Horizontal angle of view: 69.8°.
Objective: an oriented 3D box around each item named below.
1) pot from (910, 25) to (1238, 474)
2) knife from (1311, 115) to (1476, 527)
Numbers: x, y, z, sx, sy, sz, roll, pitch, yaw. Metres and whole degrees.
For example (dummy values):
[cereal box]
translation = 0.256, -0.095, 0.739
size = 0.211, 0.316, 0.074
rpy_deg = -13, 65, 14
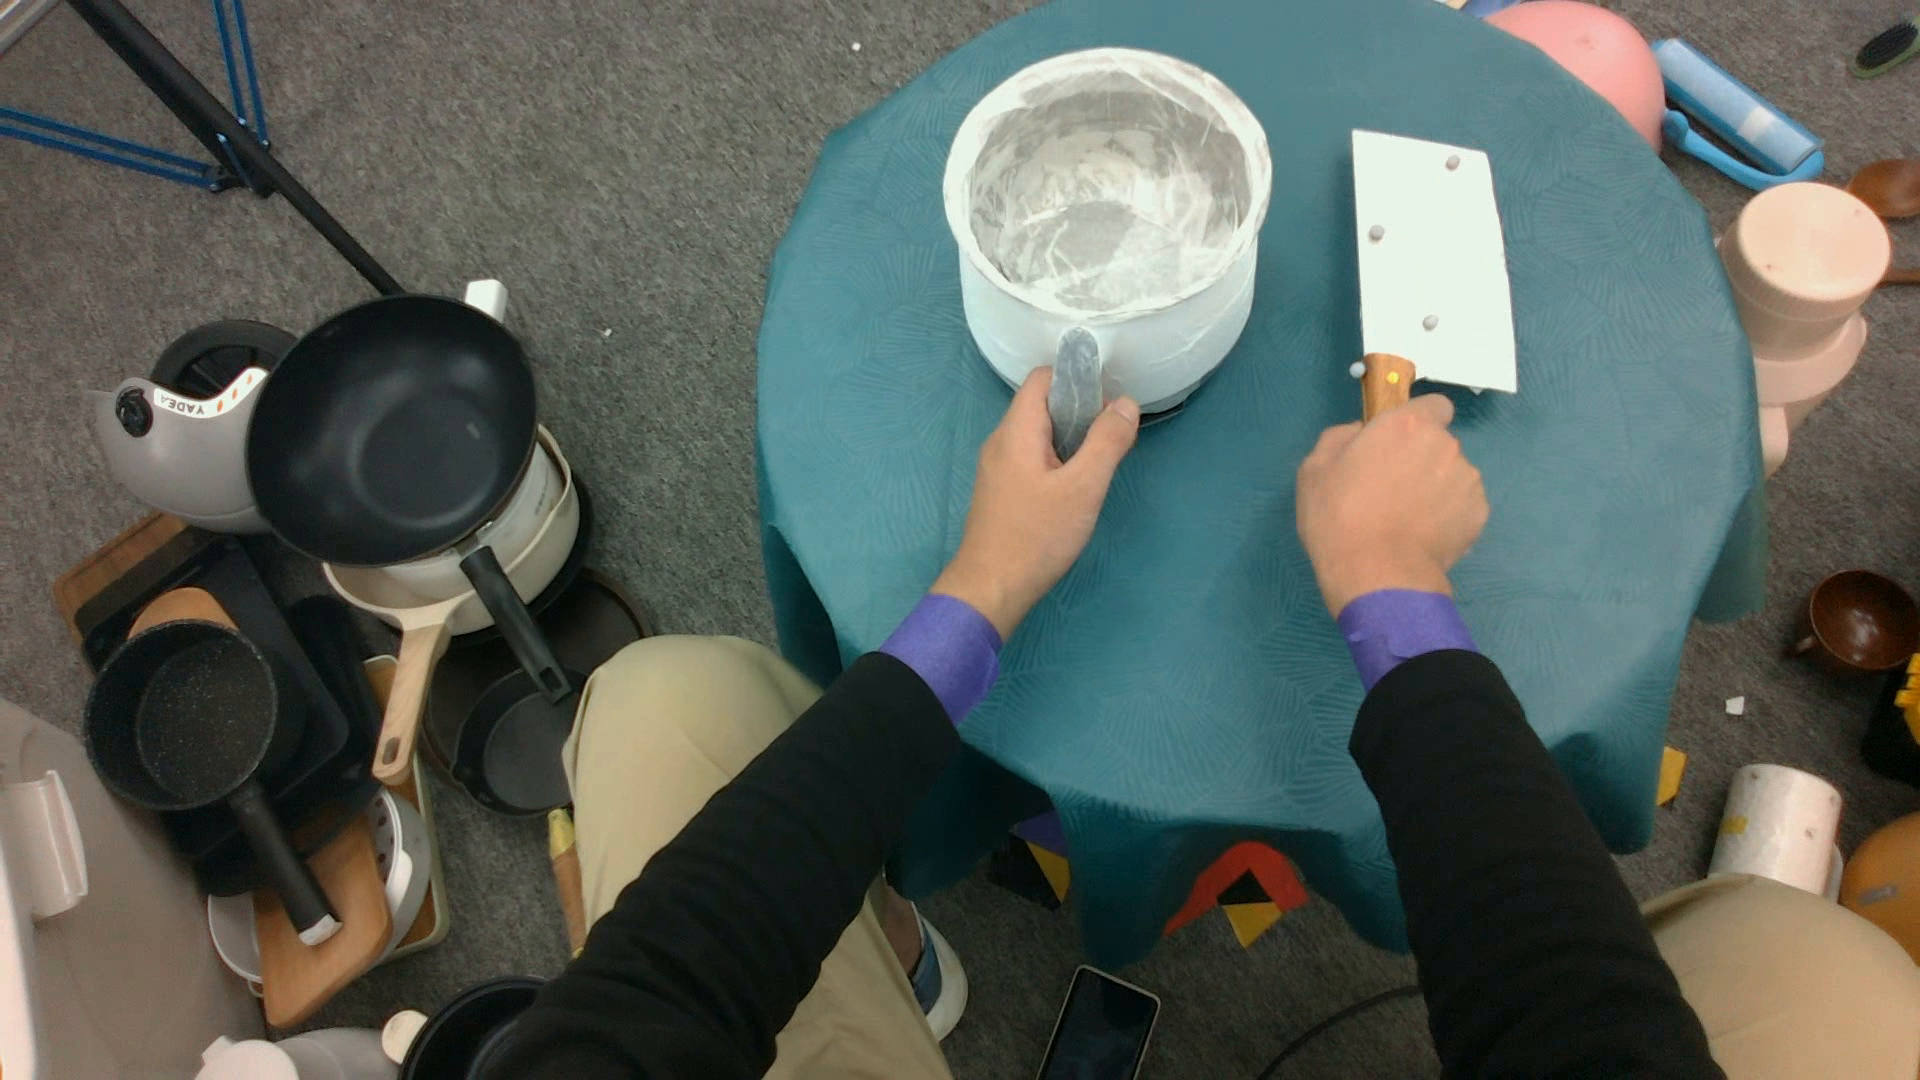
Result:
[pot]
translation = 0.062, -0.161, 0.793
size = 0.178, 0.136, 0.234
rpy_deg = 5, 67, 8
[knife]
translation = 0.256, -0.139, 0.812
size = 0.093, 0.021, 0.307
rpy_deg = 7, 61, -3
